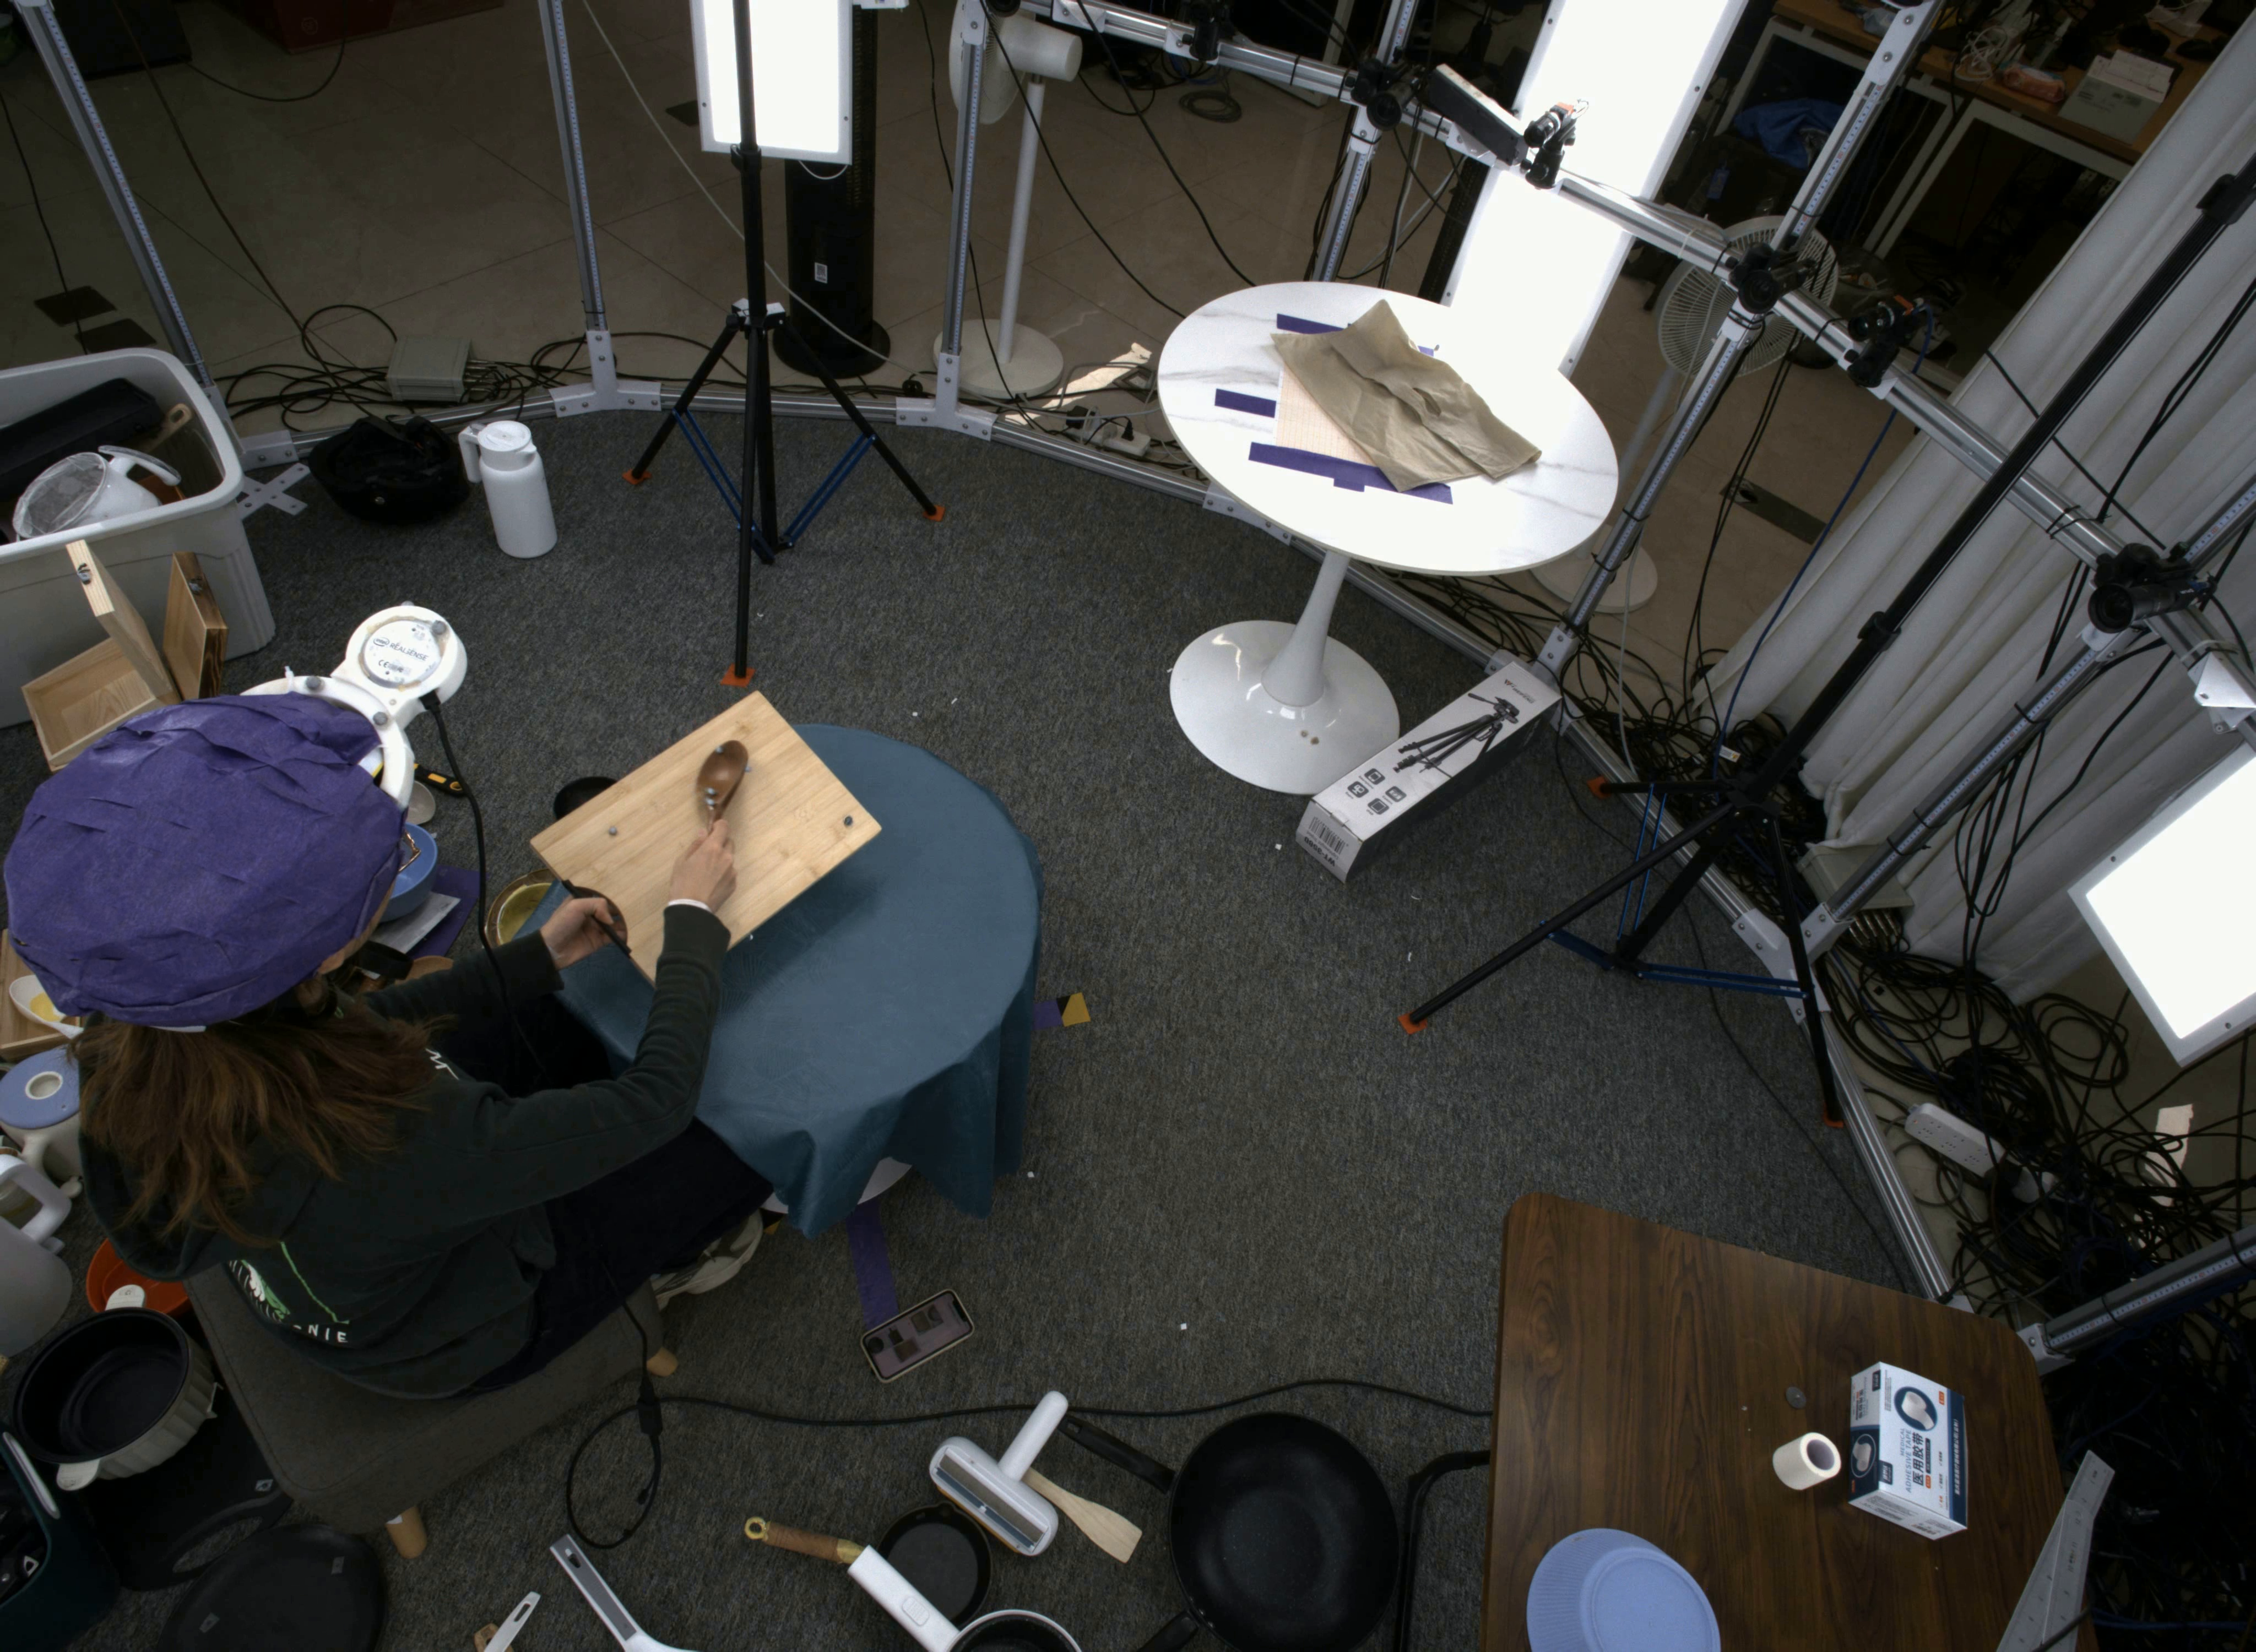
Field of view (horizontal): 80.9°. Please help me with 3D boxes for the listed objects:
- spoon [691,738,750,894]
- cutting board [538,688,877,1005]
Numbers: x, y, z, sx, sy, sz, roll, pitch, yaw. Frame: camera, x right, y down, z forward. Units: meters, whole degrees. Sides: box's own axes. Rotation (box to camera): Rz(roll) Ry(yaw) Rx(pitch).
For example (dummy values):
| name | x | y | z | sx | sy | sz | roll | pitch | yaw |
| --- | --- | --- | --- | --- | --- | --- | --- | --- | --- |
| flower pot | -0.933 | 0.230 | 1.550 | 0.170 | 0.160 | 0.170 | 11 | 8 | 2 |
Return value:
| name | x | y | z | sx | sy | sz | roll | pitch | yaw |
| --- | --- | --- | --- | --- | --- | --- | --- | --- | --- |
| spoon | -0.484 | -0.016 | 1.513 | 0.074 | 0.018 | 0.212 | -15 | 52 | 19 |
| cutting board | -0.506 | 0.014 | 1.551 | 0.251 | 0.023 | 0.348 | 47 | 57 | -1 |
